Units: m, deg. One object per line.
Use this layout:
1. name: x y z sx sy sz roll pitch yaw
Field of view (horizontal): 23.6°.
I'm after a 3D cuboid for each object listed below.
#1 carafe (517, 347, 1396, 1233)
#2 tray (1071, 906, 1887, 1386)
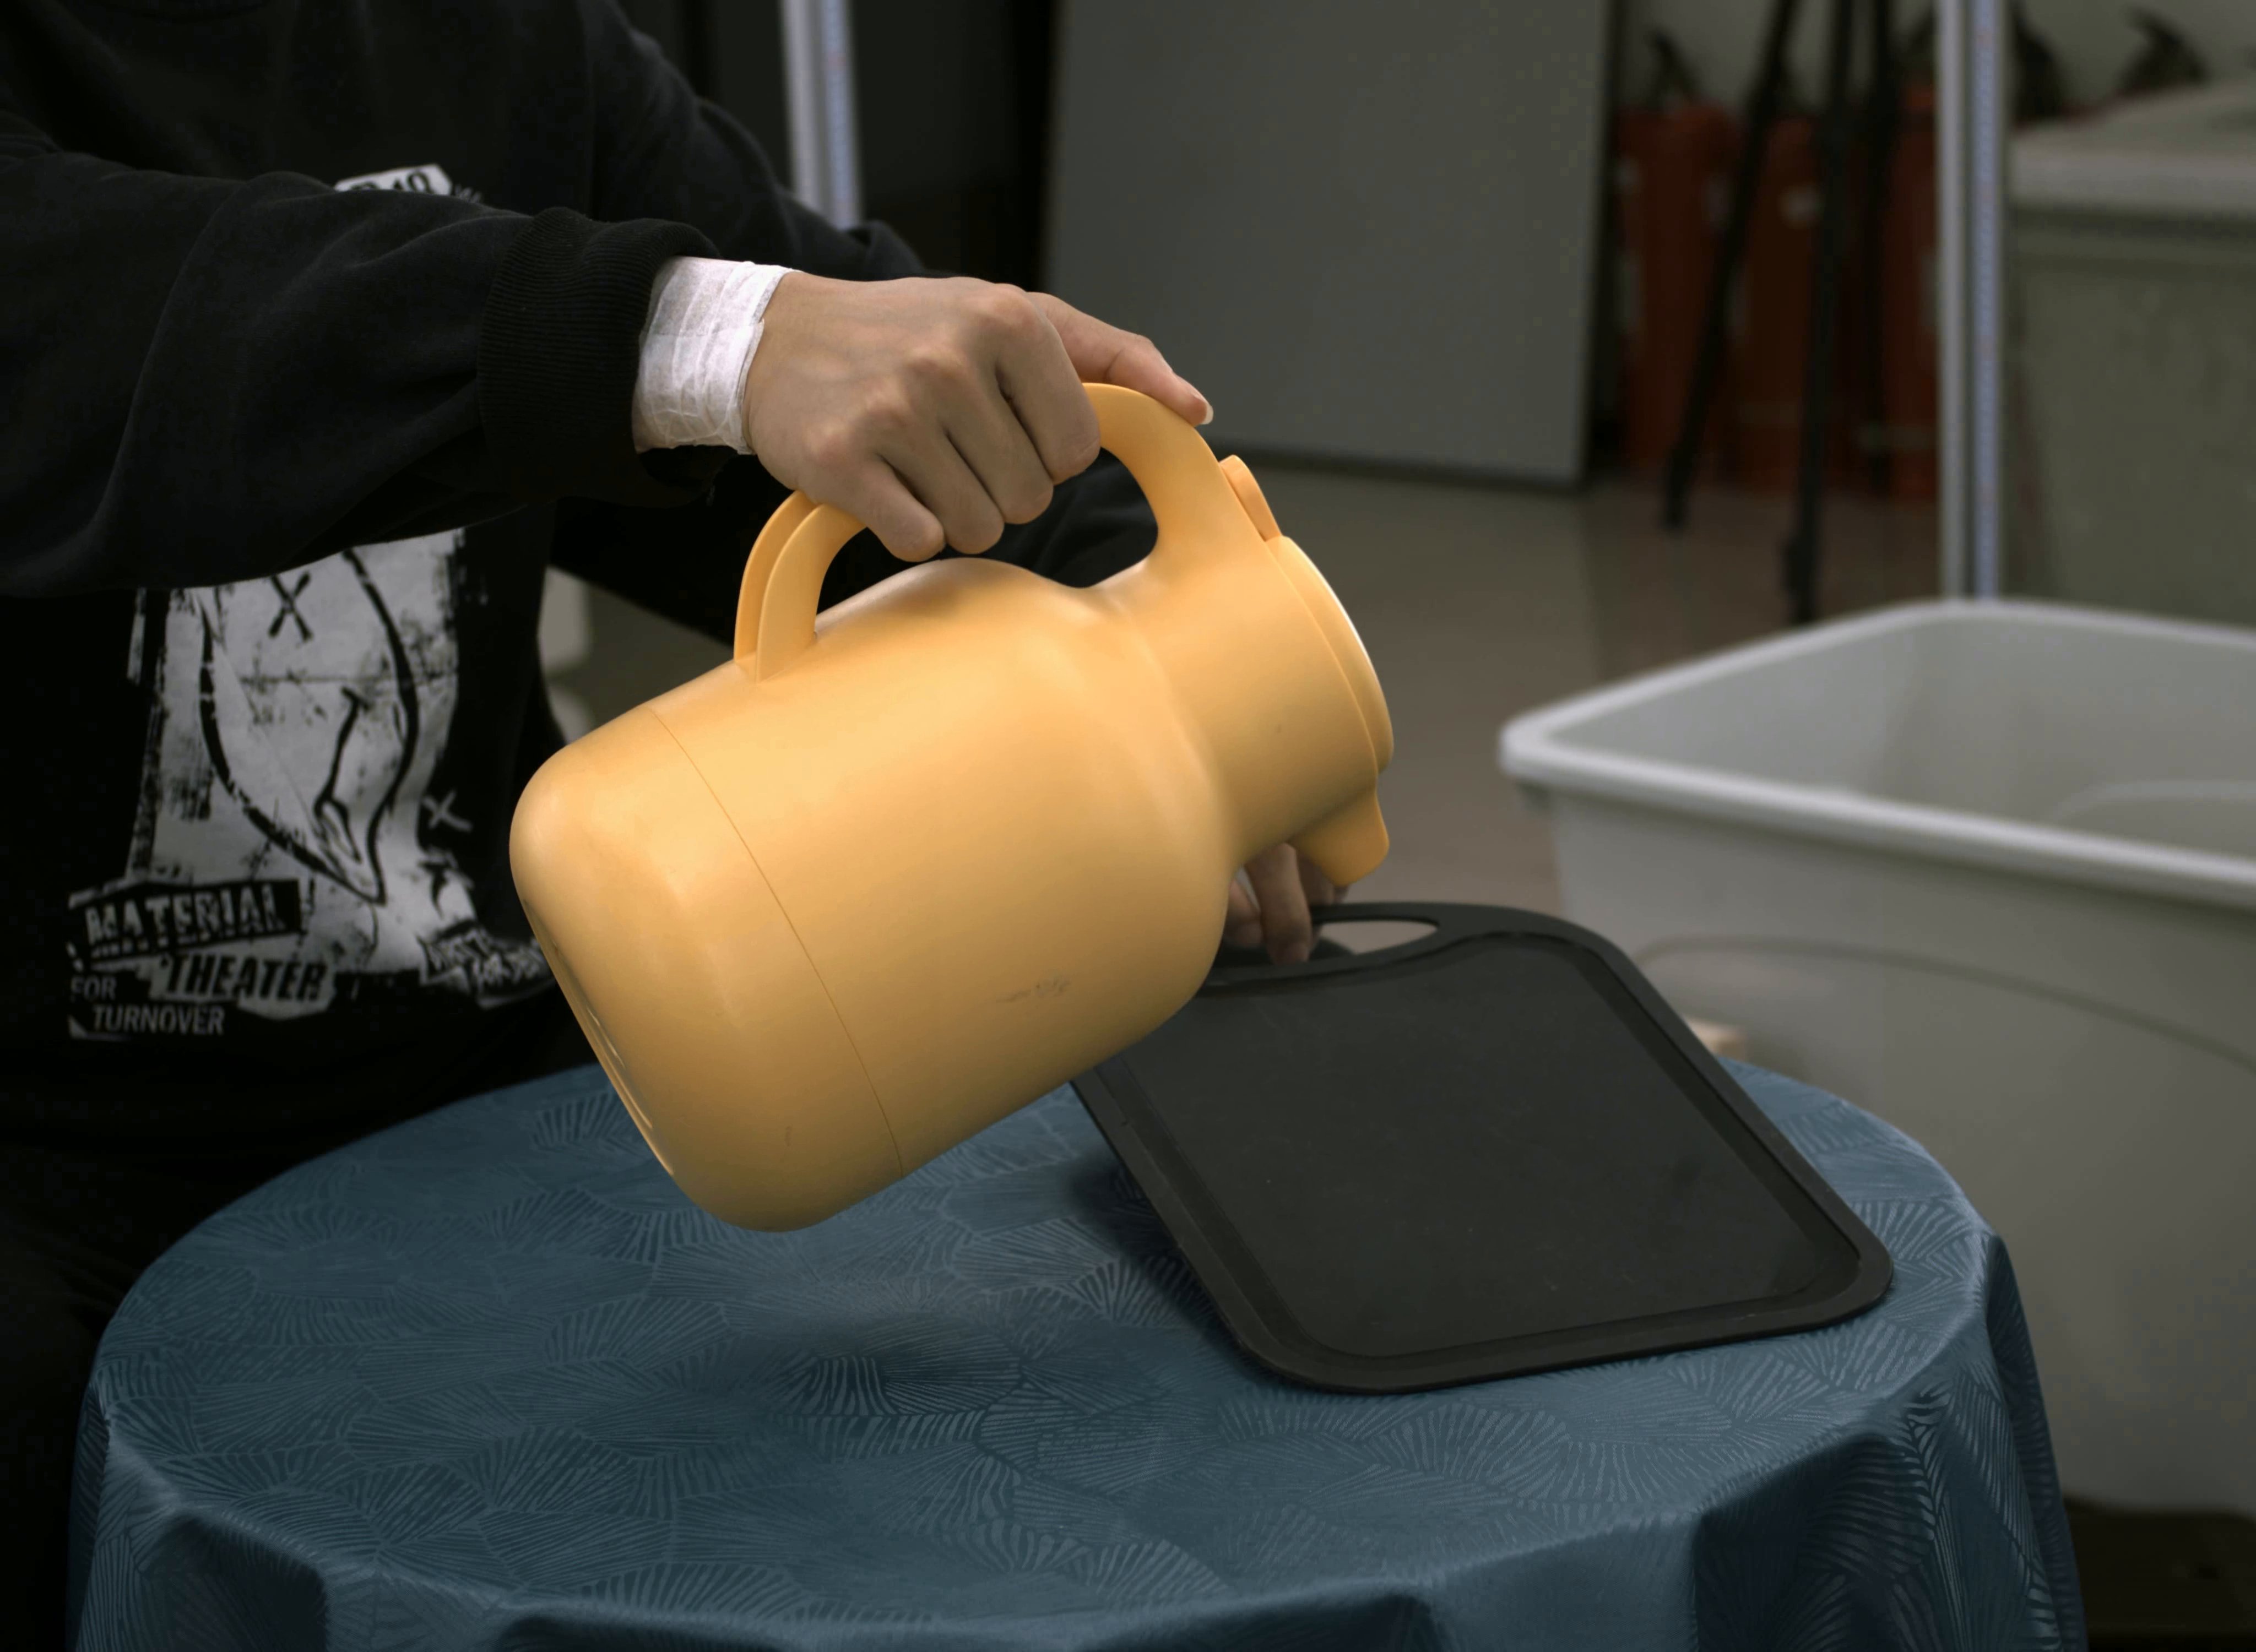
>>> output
1. carafe: -0.053 -0.018 1.618 0.257 0.203 0.165 -30 19 -12
2. tray: 0.098 0.093 1.727 0.207 0.010 0.328 -7 24 -14
